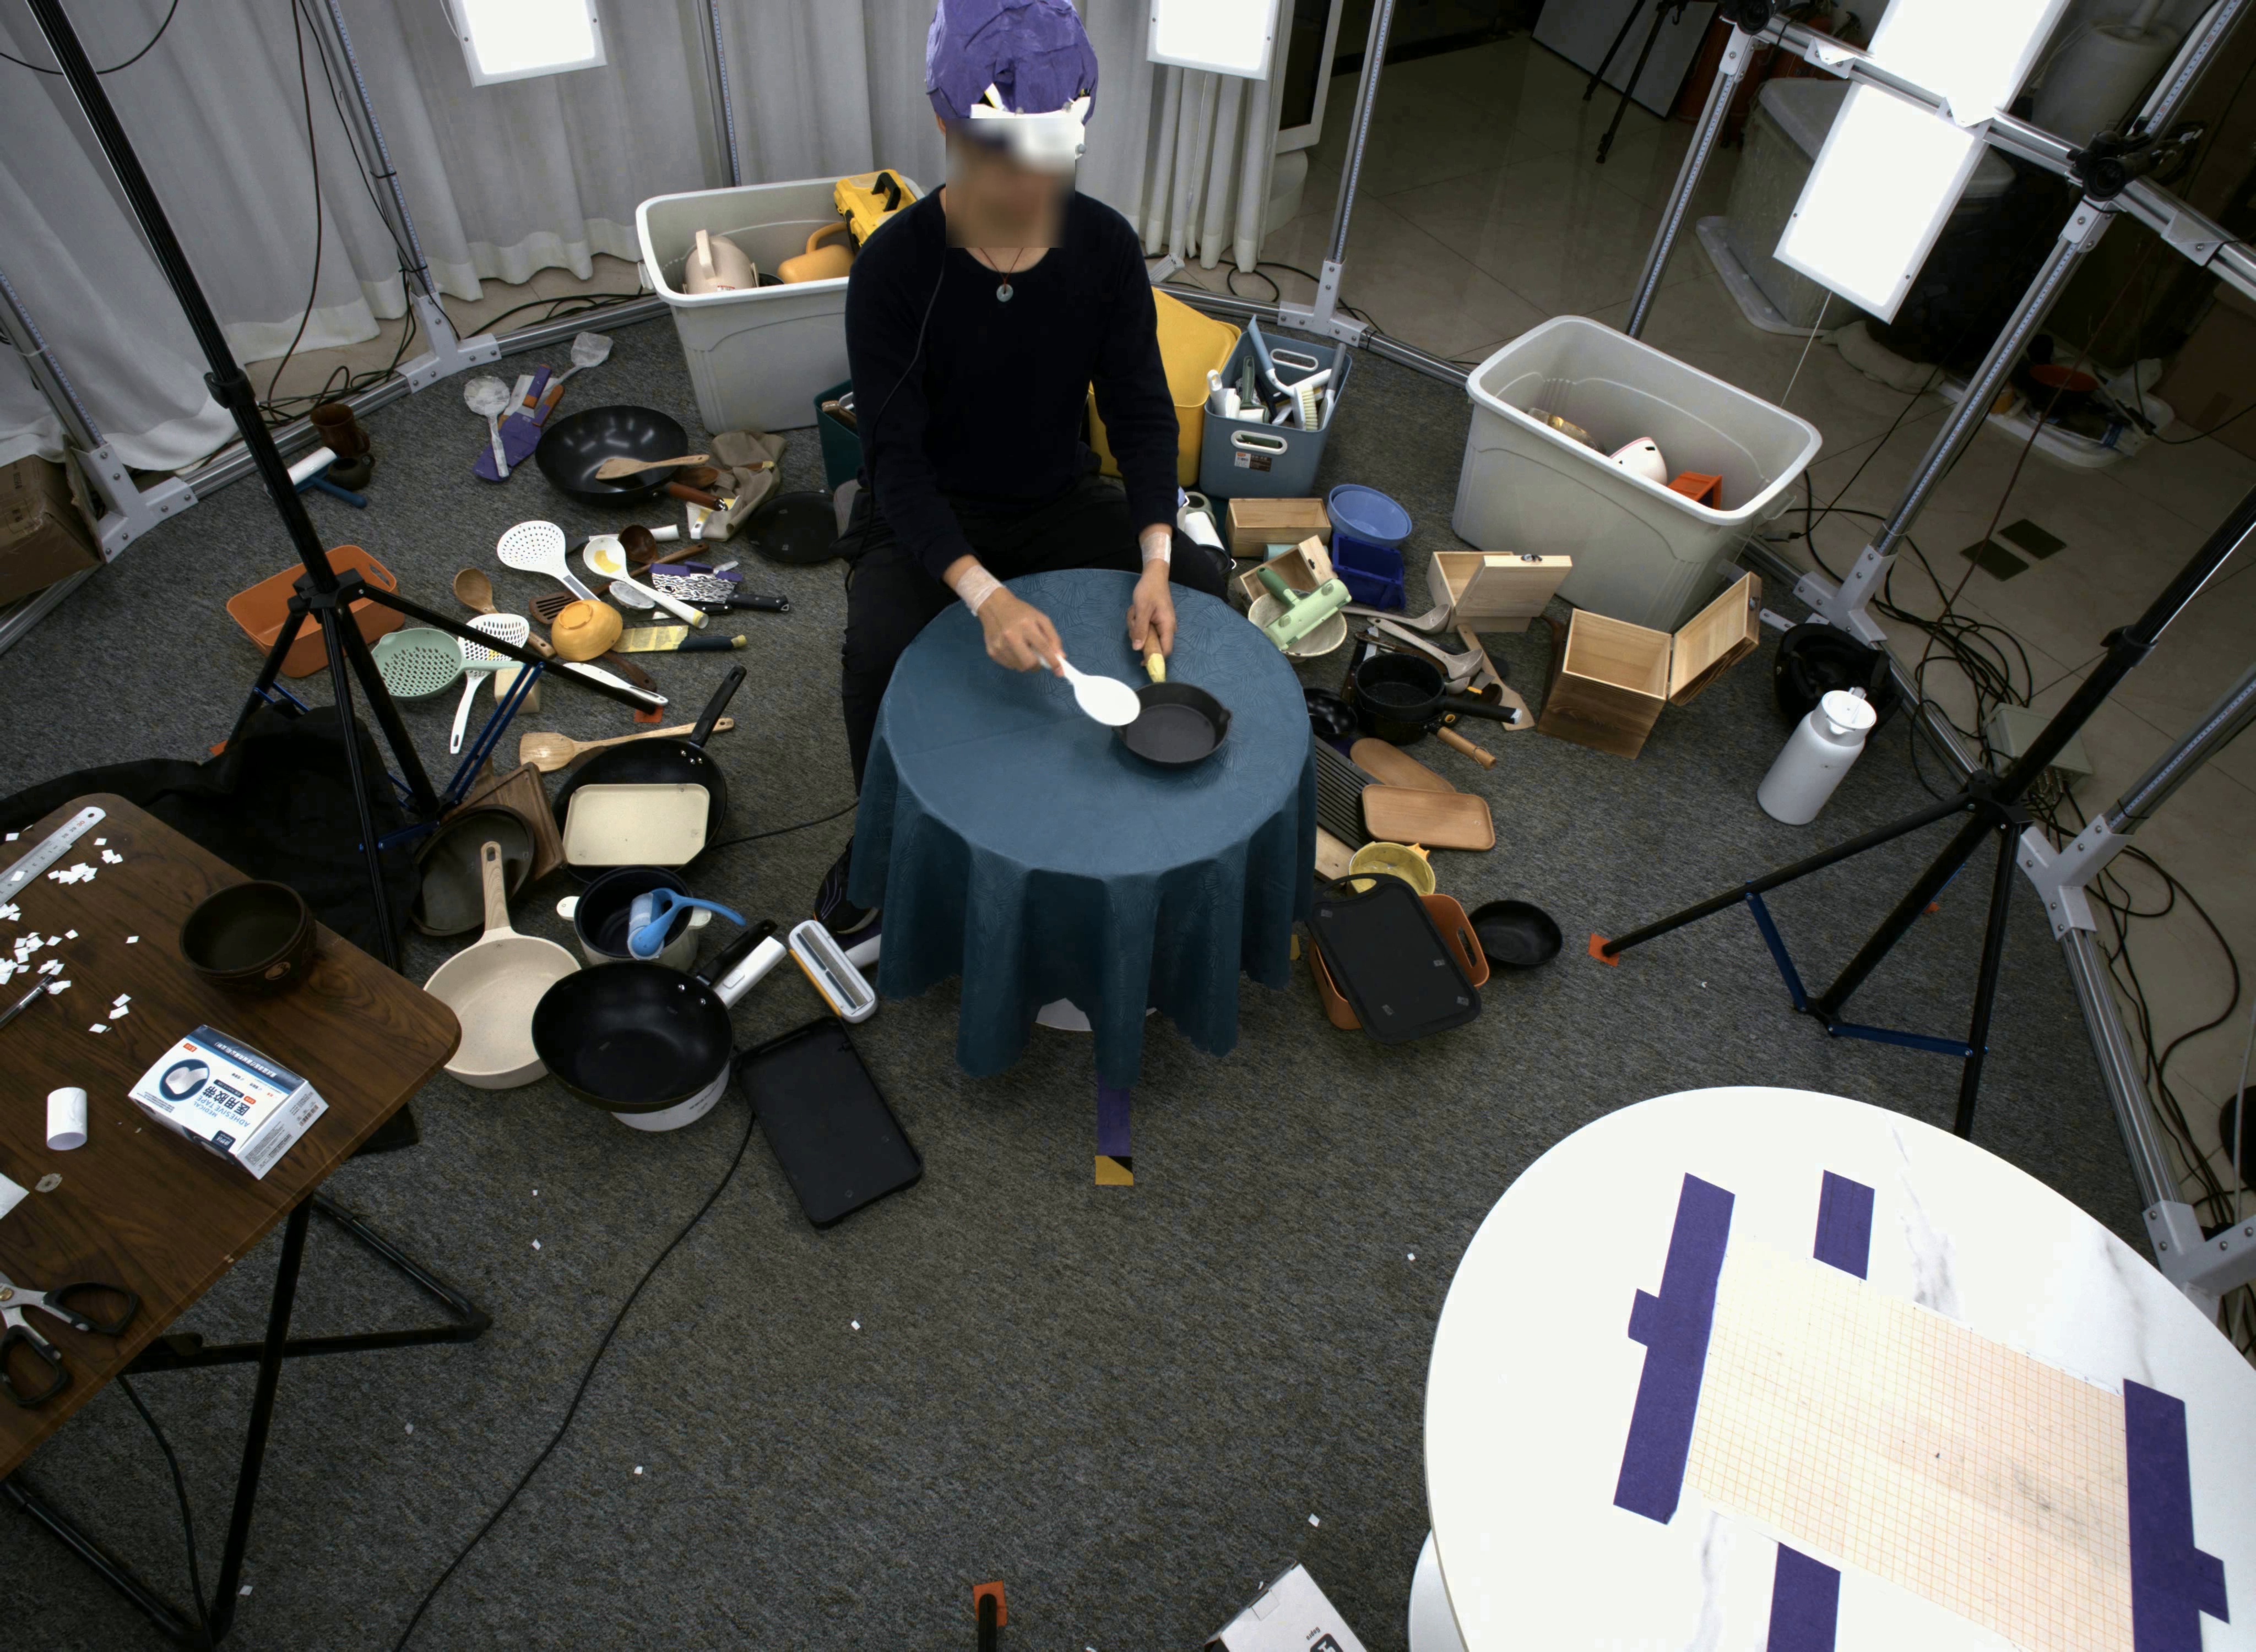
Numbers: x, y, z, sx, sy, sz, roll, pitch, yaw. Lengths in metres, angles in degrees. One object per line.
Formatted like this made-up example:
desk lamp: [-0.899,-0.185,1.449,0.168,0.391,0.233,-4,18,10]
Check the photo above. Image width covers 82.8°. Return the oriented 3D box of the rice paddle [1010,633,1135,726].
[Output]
rice paddle: [-0.075,-0.199,1.739,0.208,0.029,0.069,36,66,22]

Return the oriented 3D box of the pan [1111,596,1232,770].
pan: [0.048,-0.204,1.817,0.169,0.048,0.332,-5,50,-6]
